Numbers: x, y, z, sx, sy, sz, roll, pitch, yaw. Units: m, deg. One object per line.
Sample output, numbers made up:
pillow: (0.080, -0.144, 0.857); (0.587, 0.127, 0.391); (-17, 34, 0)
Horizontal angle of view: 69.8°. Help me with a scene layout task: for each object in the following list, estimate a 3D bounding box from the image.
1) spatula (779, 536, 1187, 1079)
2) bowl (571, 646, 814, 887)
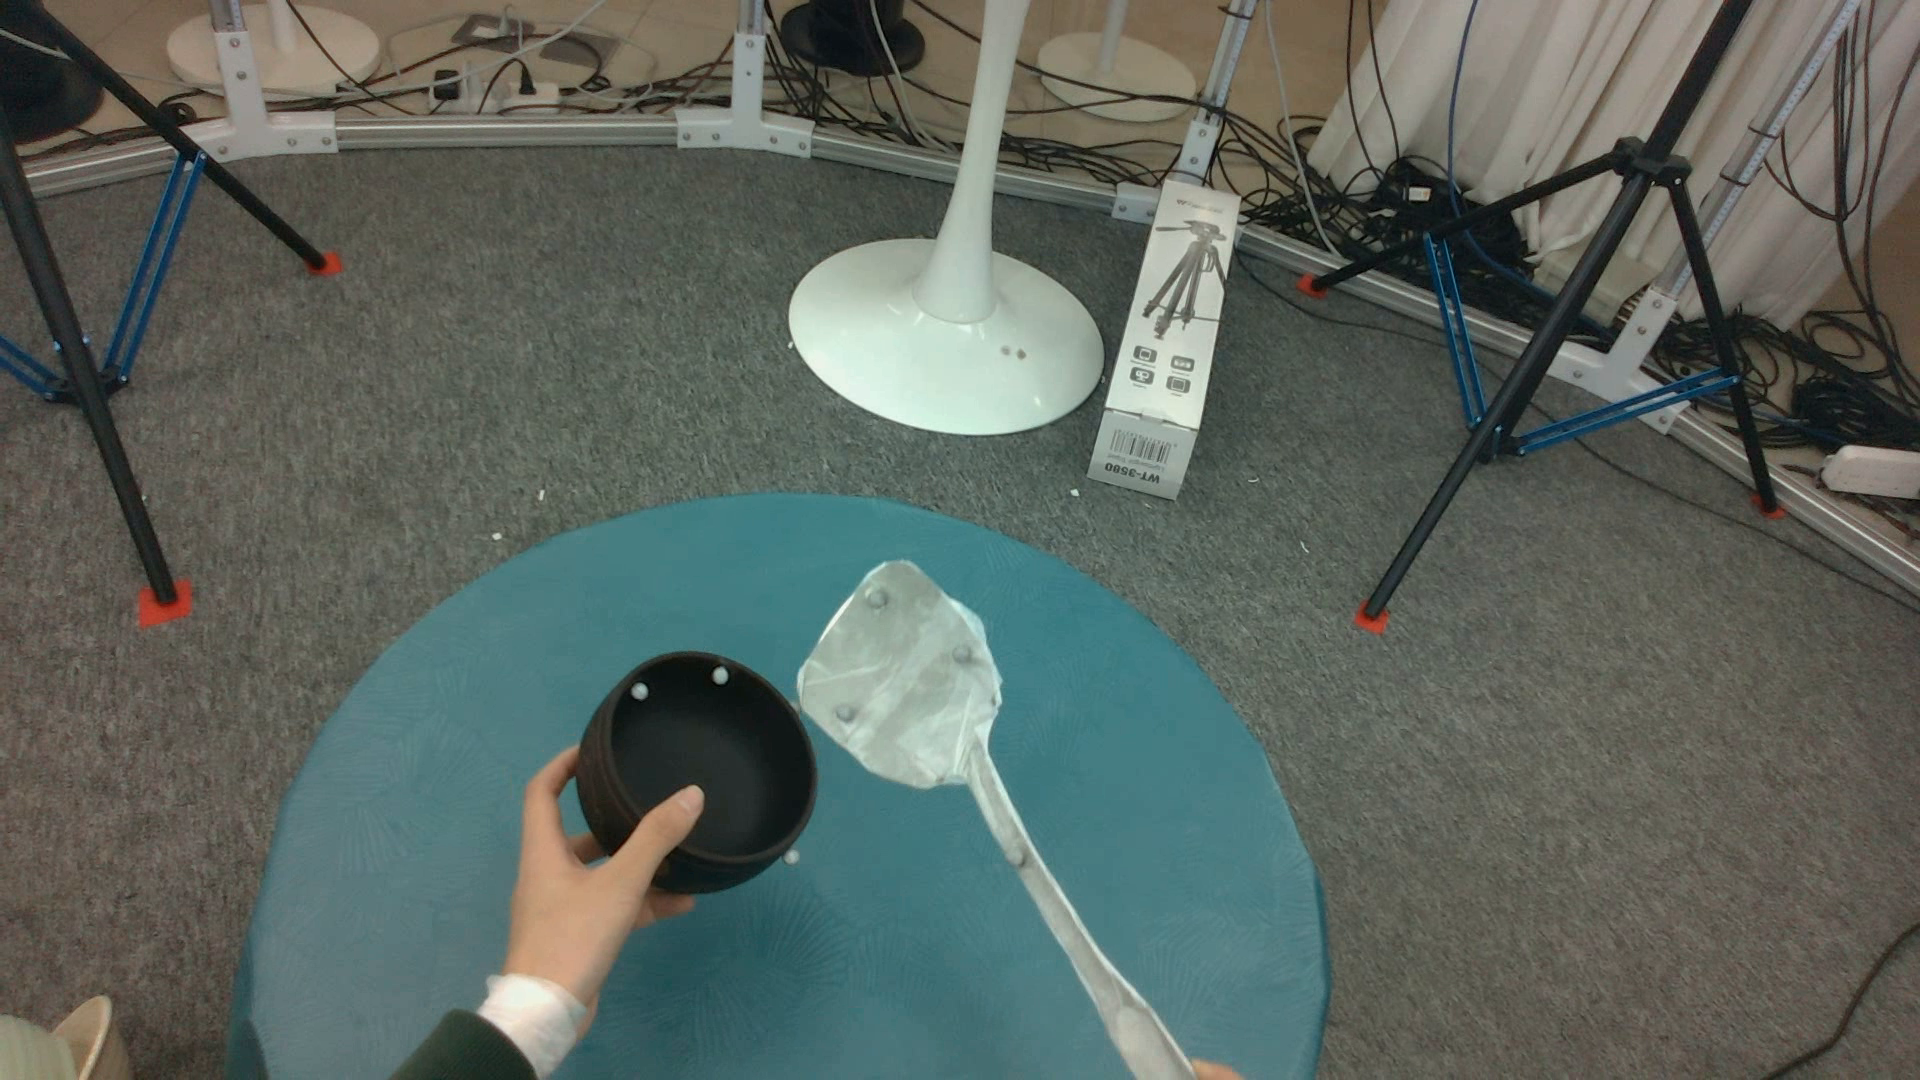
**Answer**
spatula: (0.028, 0.143, 0.573); (0.045, 0.098, 0.365); (22, 24, -46)
bowl: (-0.139, 0.120, 0.691); (0.118, 0.069, 0.118); (24, 42, -23)
